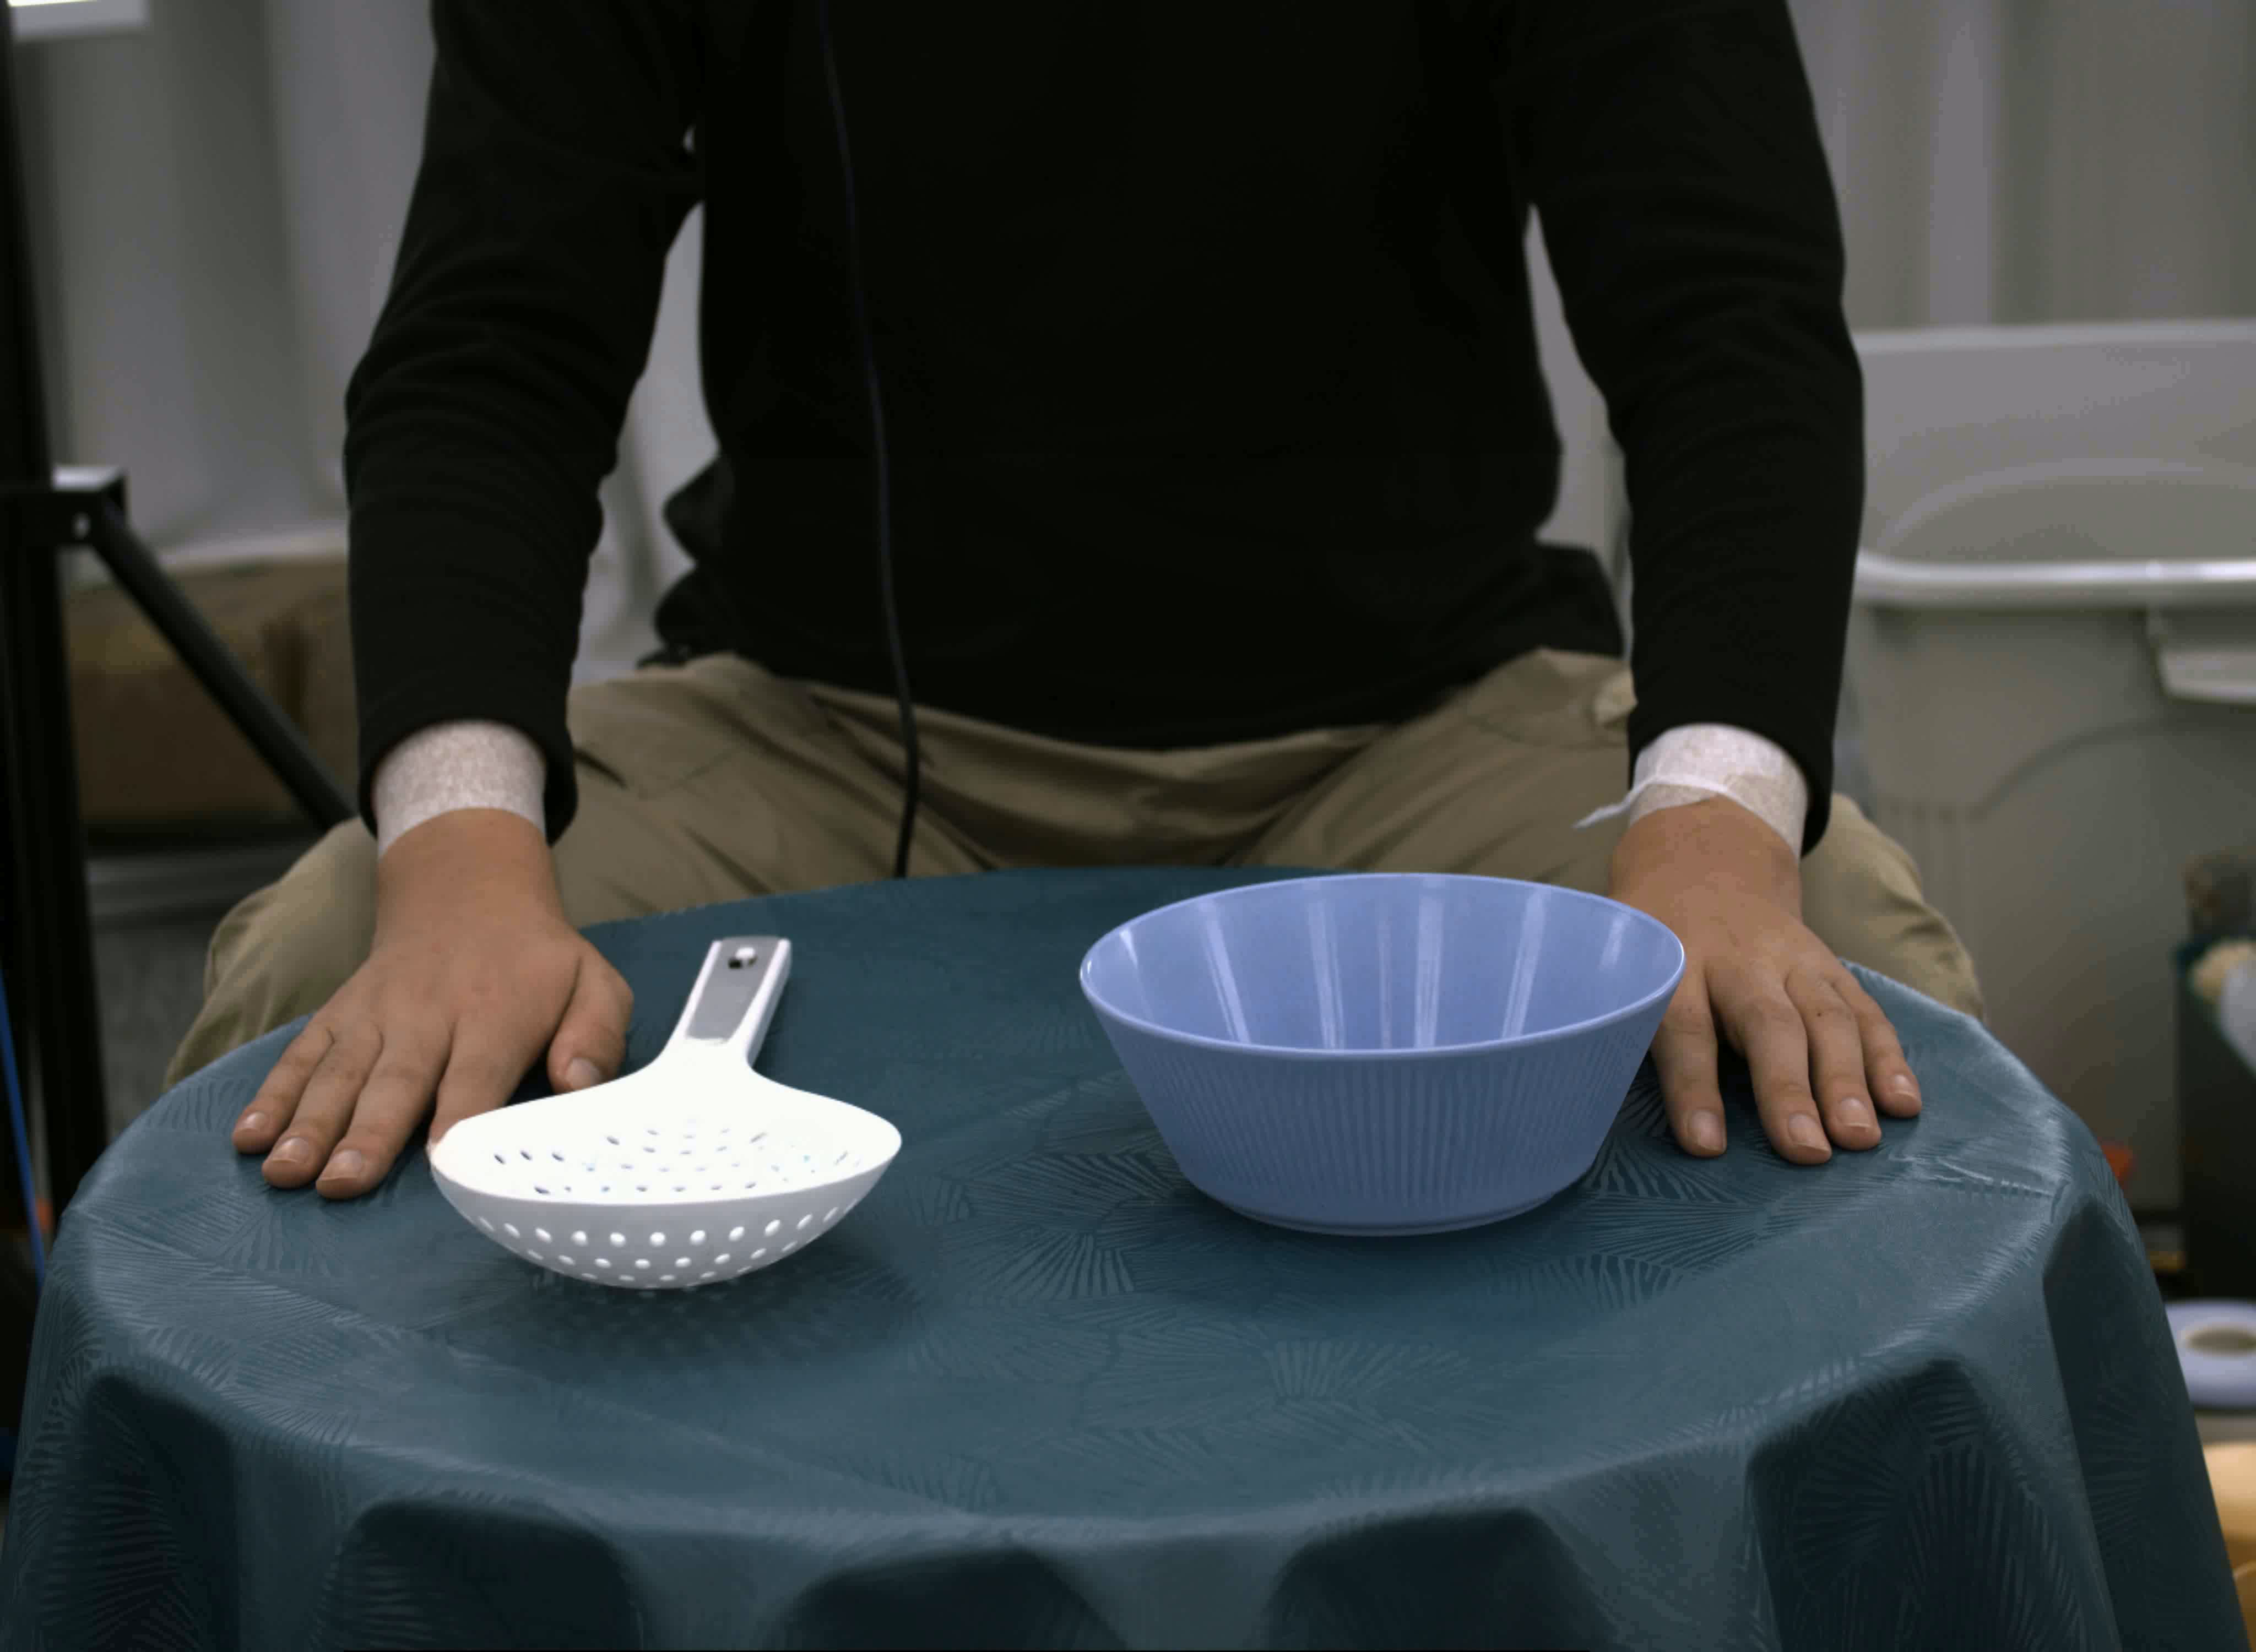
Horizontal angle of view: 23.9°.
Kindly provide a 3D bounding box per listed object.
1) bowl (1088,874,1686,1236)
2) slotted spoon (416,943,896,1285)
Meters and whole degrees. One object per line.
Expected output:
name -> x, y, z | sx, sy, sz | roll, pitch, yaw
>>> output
bowl -> 0.076, 0.069, 1.552 | 0.175, 0.070, 0.177 | -2, 15, -1
slotted spoon -> -0.130, 0.077, 1.605 | 0.135, 0.046, 0.350 | -2, 15, 2
